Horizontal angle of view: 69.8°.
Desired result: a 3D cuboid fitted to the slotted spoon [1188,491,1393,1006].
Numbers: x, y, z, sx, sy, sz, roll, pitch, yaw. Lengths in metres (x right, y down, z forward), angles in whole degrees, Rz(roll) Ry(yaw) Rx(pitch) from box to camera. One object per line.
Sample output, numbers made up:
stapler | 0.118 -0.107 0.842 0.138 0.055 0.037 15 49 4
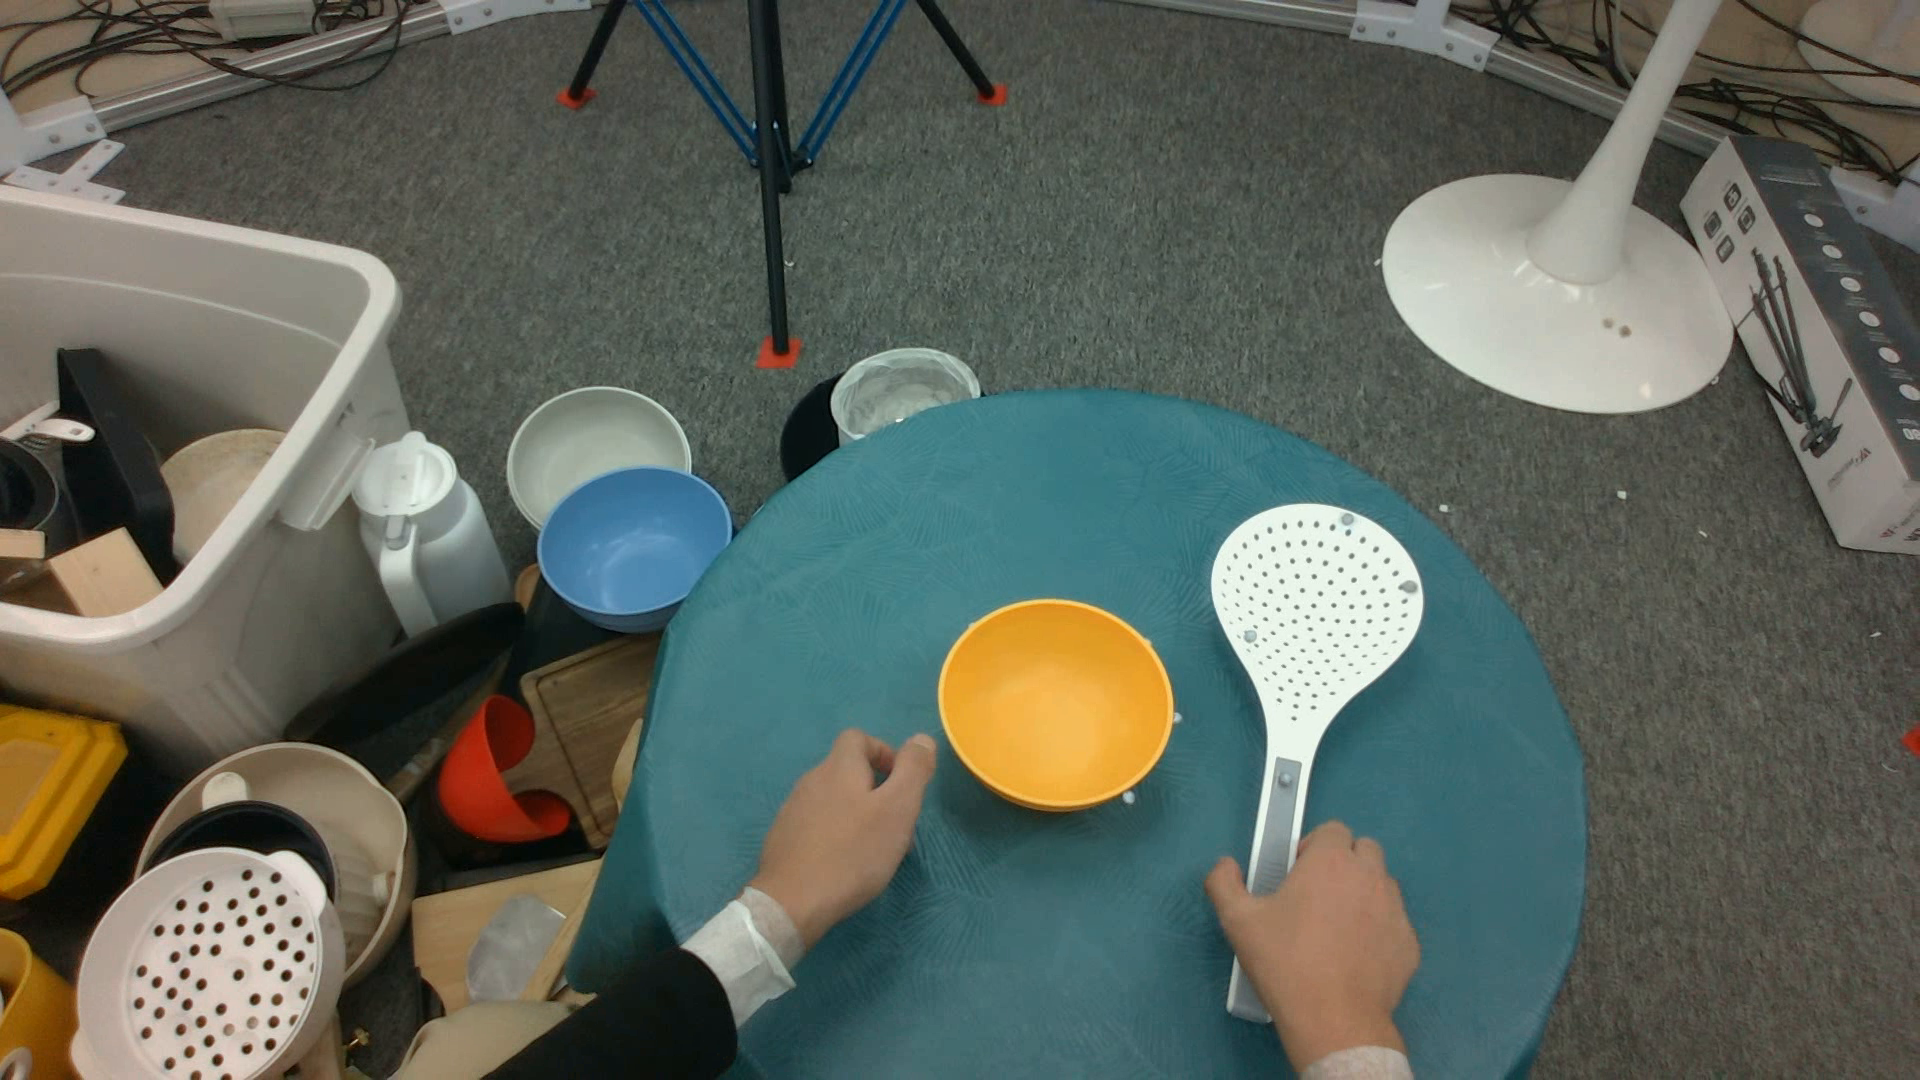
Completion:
slotted spoon | 0.193 0.117 0.868 0.136 0.045 0.351 11 54 9

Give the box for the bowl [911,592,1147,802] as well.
bowl | 0.042 0.107 0.859 0.145 0.060 0.146 1 52 -1
